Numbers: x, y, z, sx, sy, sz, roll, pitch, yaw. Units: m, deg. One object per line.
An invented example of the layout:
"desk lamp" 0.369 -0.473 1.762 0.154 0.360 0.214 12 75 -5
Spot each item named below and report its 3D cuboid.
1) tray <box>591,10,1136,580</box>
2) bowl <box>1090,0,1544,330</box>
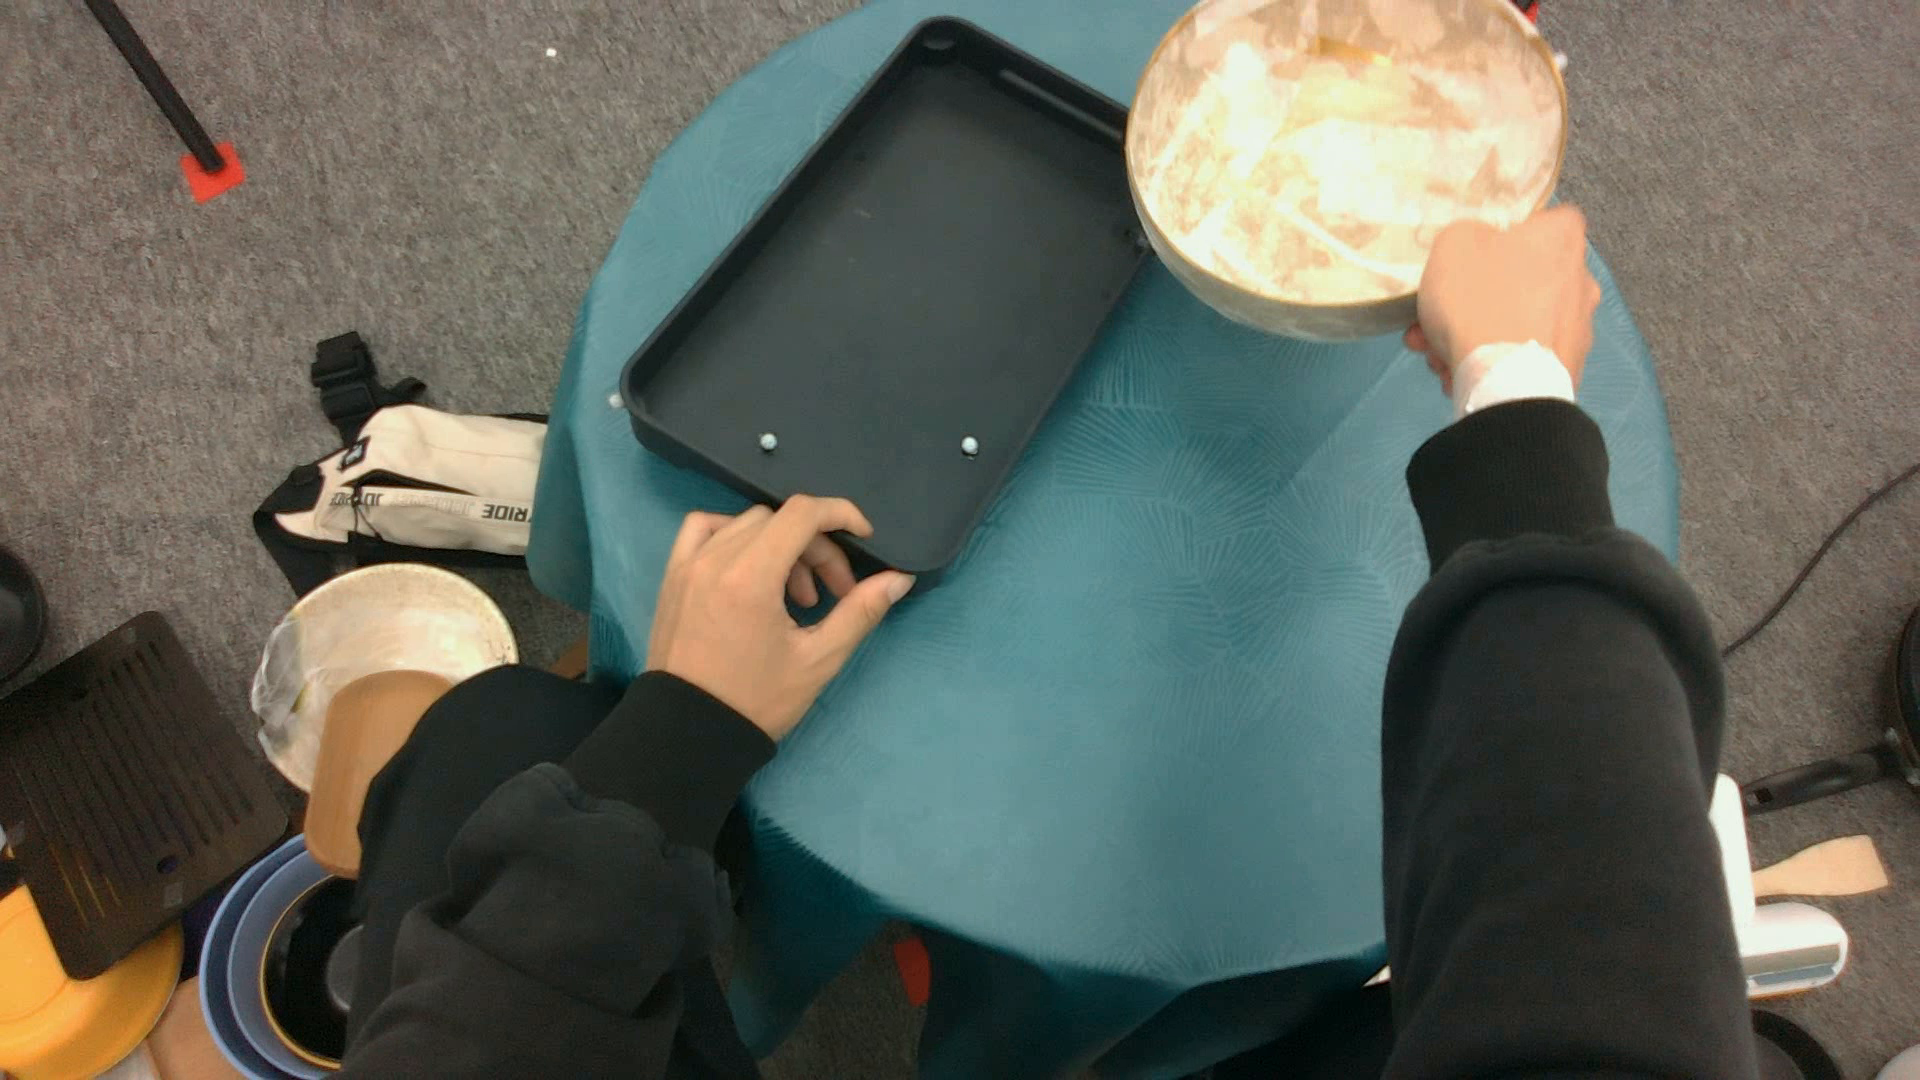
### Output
"tray" -0.028 -0.141 0.720 0.184 0.037 0.319 31 62 5
"bowl" 0.170 -0.181 0.689 0.214 0.094 0.215 -3 66 7
